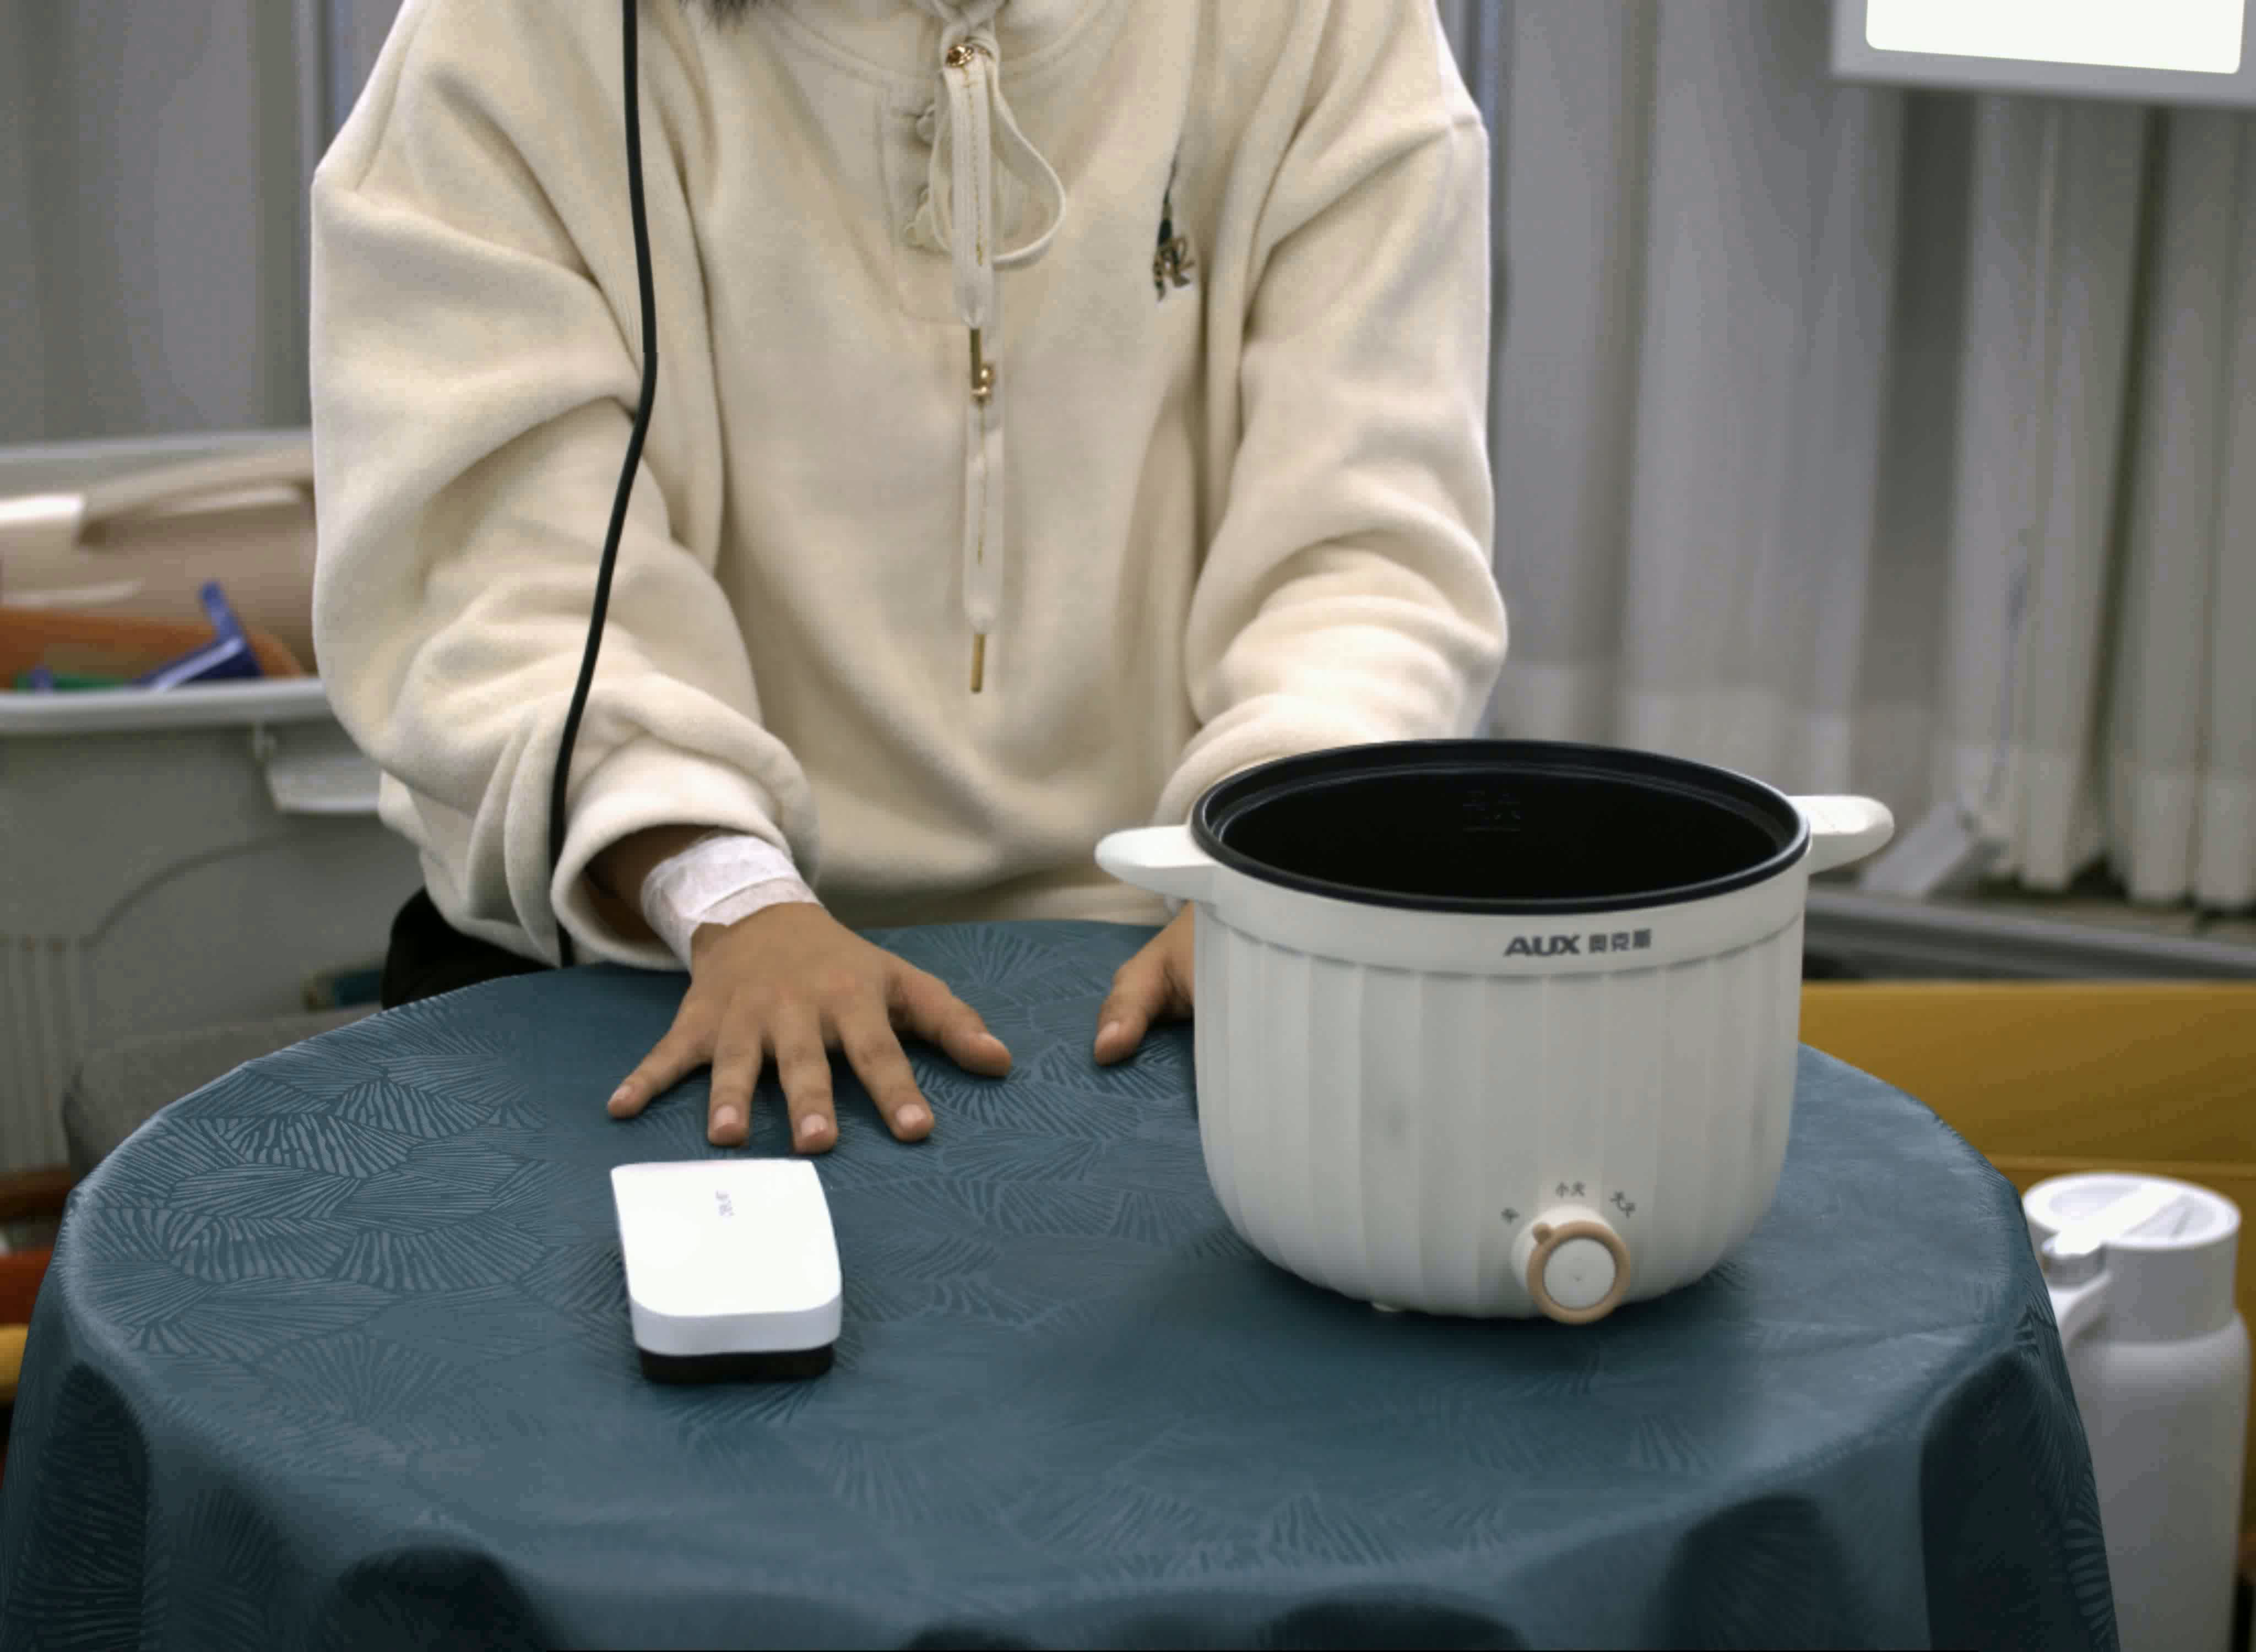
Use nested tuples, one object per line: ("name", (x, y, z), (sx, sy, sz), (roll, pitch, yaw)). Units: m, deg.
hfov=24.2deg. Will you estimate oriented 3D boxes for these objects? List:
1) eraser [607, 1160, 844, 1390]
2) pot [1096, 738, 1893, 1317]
("eraser", (-0.116, 0.125, 1.516), (0.063, 0.035, 0.130), (1, 16, -9))
("pot", (0.111, 0.061, 1.546), (0.240, 0.144, 0.189), (-4, 13, -11))
